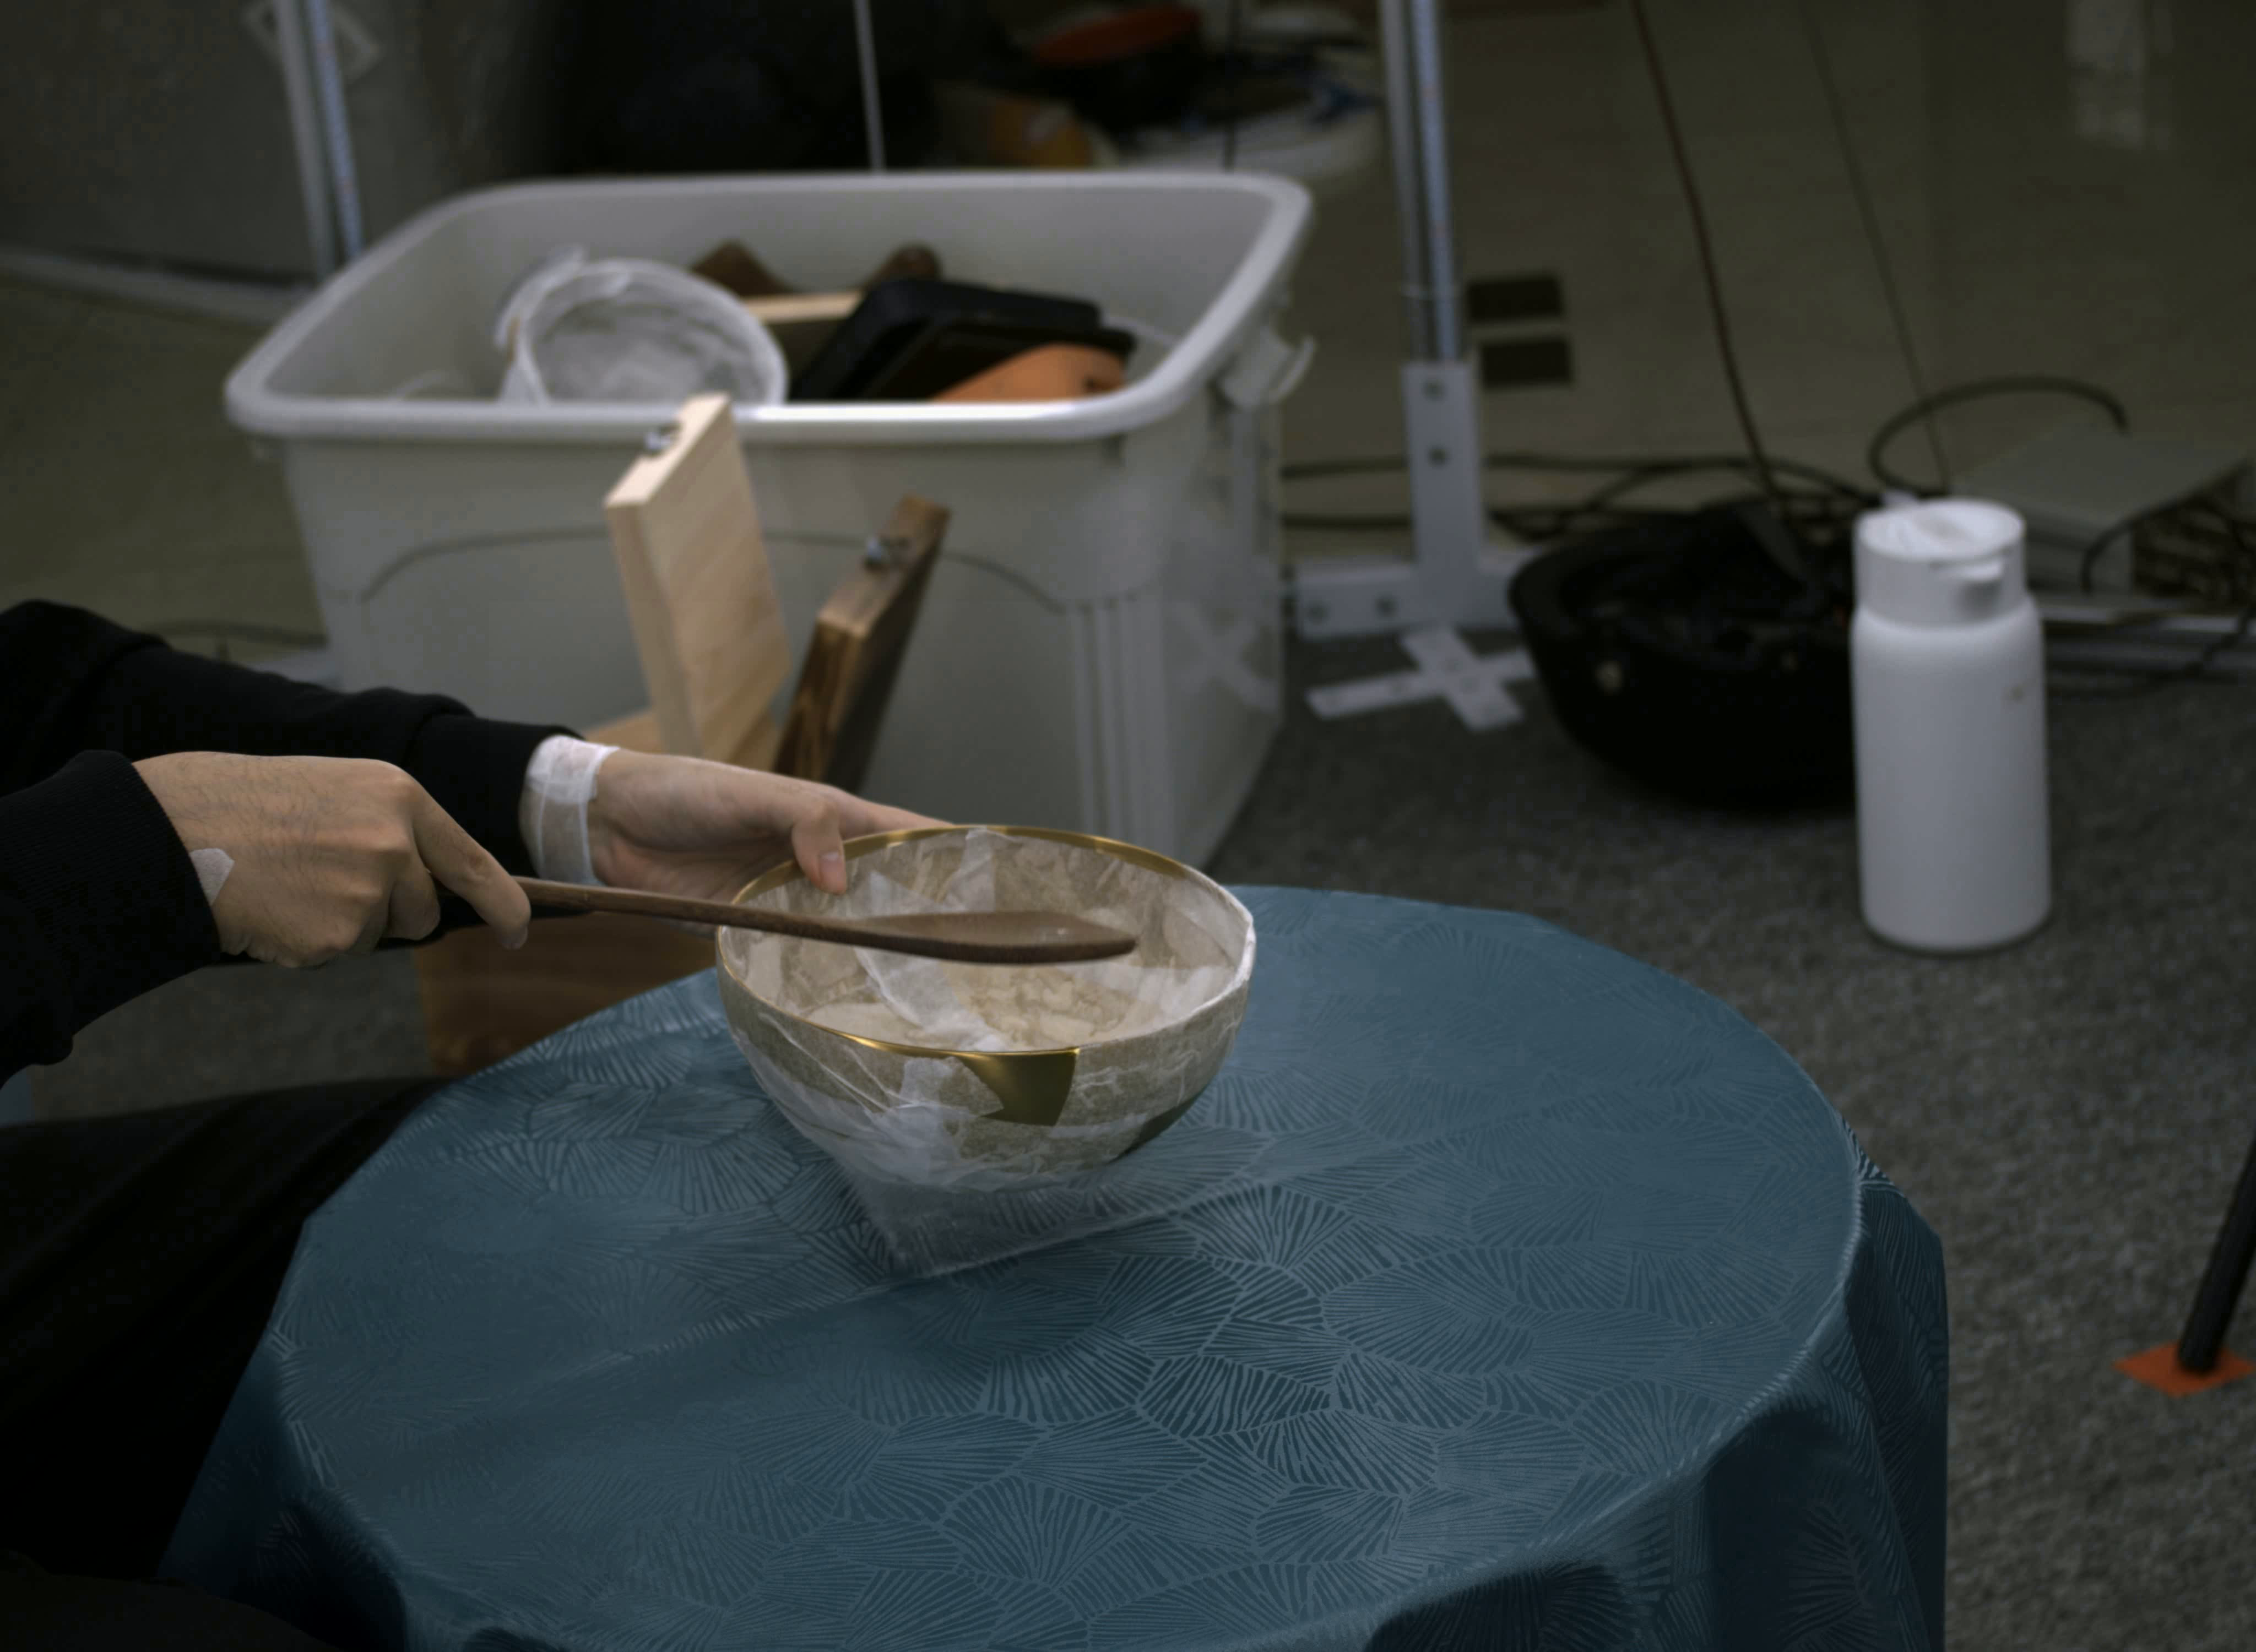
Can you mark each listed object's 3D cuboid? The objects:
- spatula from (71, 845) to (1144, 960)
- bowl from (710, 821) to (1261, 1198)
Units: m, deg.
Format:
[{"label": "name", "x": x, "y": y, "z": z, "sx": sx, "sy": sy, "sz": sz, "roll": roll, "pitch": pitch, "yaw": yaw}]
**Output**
[{"label": "spatula", "x": -0.180, "y": 0.026, "z": 1.999, "sx": 0.386, "sy": 0.016, "sz": 0.095, "roll": 5, "pitch": 5, "yaw": -21}, {"label": "bowl", "x": -0.054, "y": 0.080, "z": 2.130, "sx": 0.214, "sy": 0.096, "sz": 0.211, "roll": -1, "pitch": 26, "yaw": 0}]
